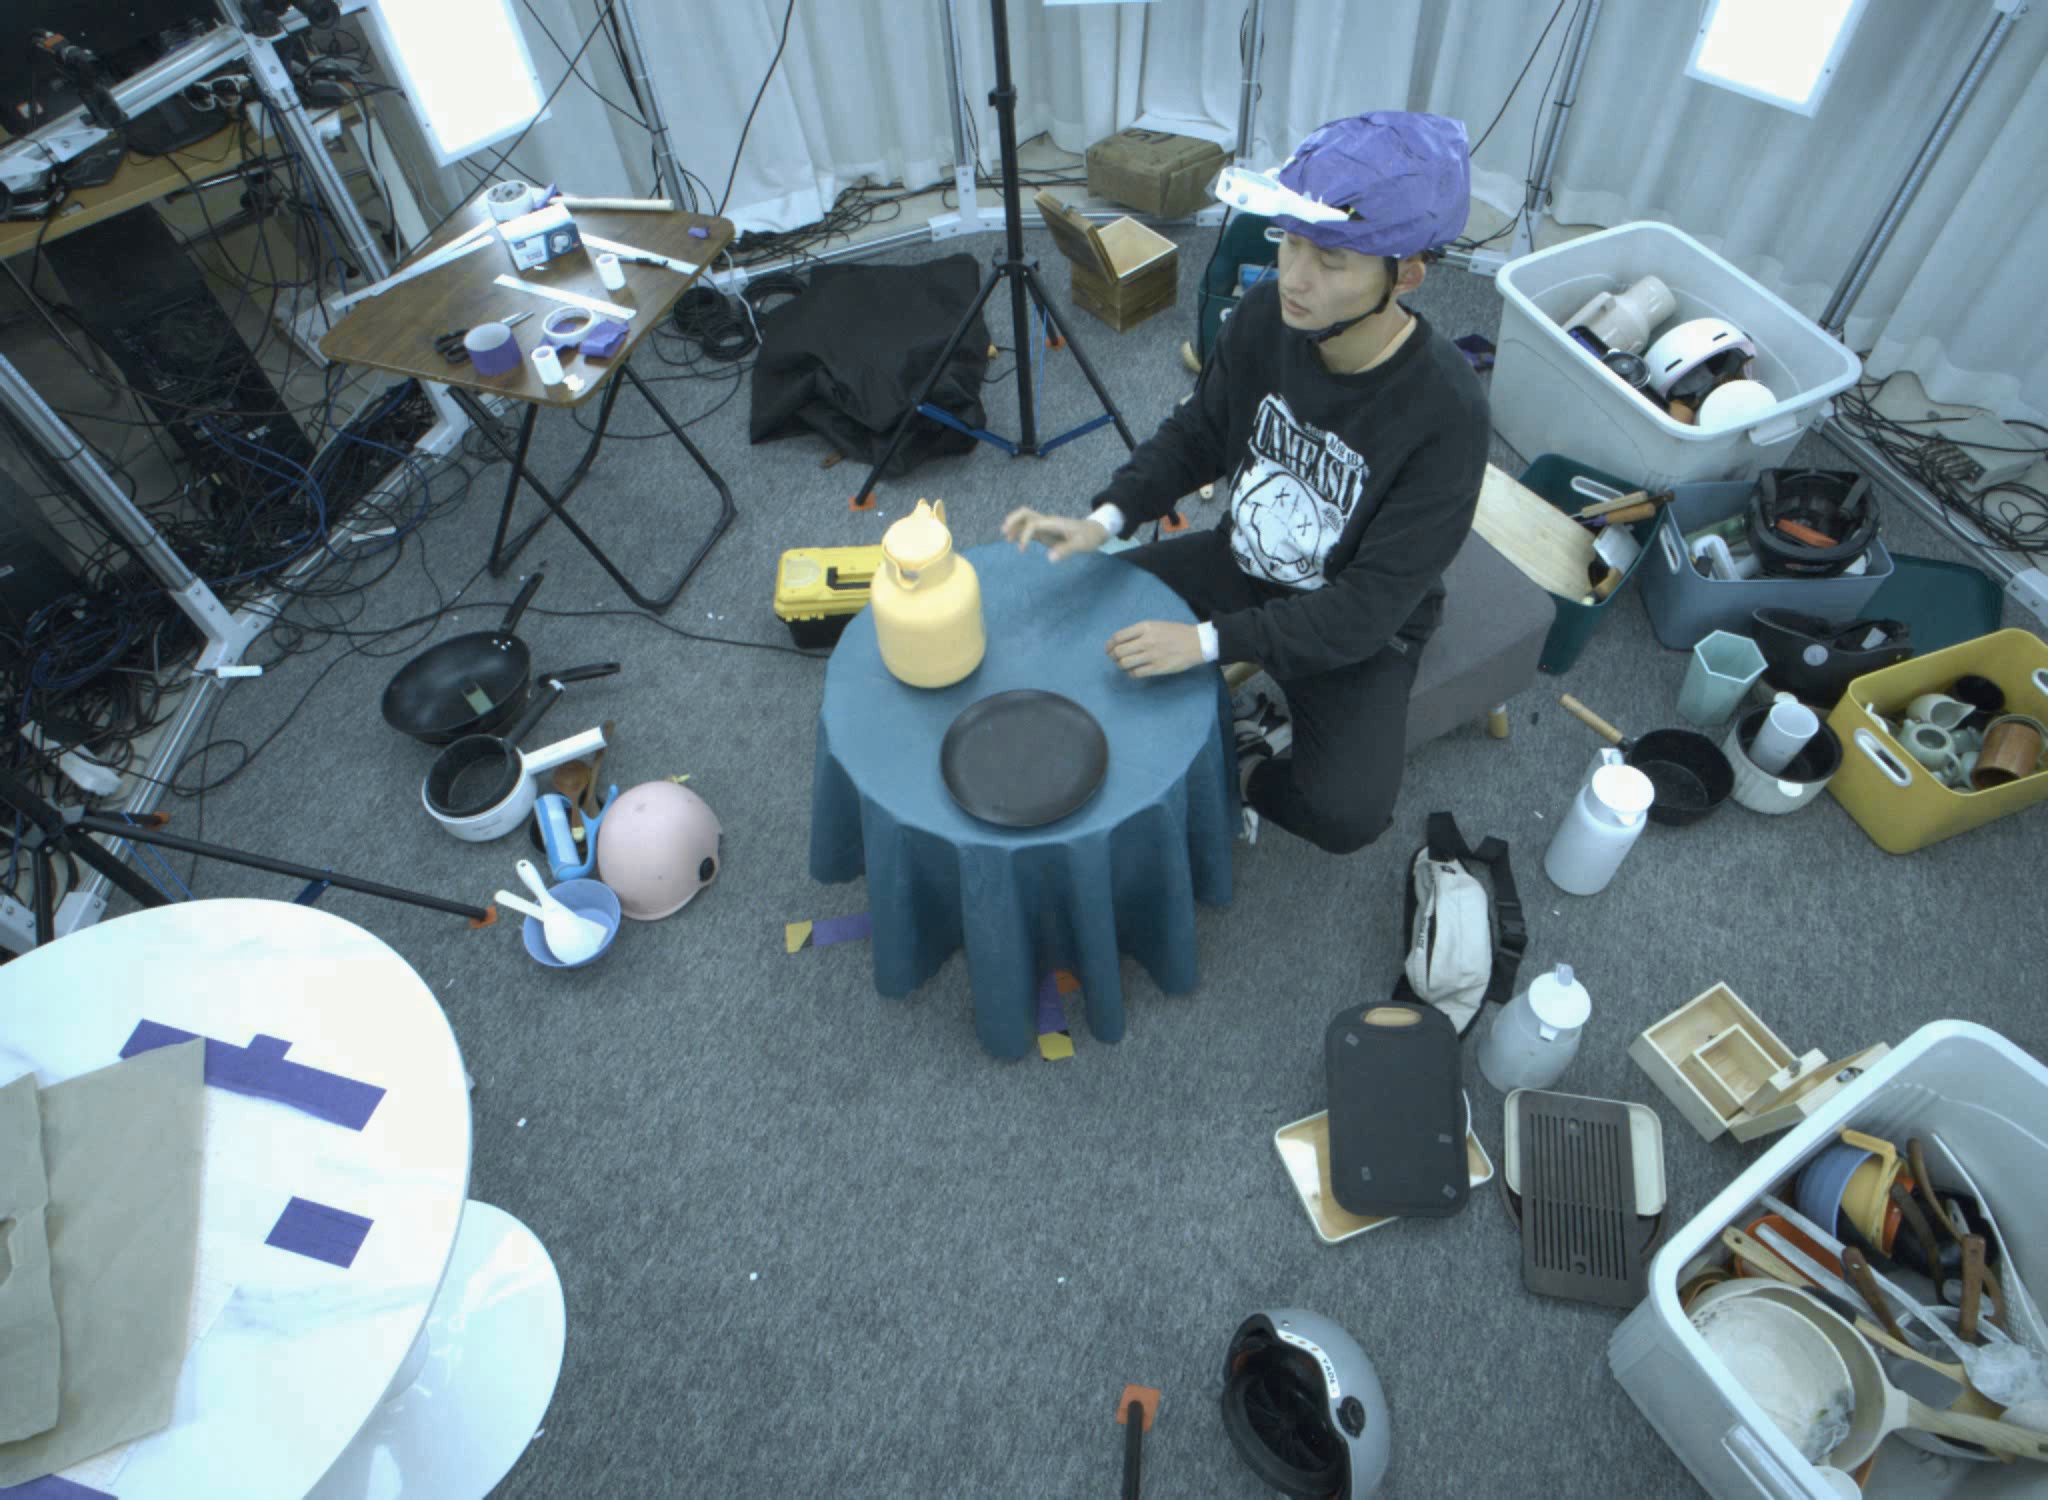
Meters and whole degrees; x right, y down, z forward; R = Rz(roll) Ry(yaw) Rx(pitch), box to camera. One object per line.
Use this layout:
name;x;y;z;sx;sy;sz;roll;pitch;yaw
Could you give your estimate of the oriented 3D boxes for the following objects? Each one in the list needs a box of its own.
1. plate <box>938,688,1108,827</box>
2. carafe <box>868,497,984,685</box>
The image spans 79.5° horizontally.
plate;-0.002;0.011;1.761;0.244;0.023;0.242;0;55;2
carafe;-0.141;-0.239;1.795;0.163;0.263;0.201;8;57;6
